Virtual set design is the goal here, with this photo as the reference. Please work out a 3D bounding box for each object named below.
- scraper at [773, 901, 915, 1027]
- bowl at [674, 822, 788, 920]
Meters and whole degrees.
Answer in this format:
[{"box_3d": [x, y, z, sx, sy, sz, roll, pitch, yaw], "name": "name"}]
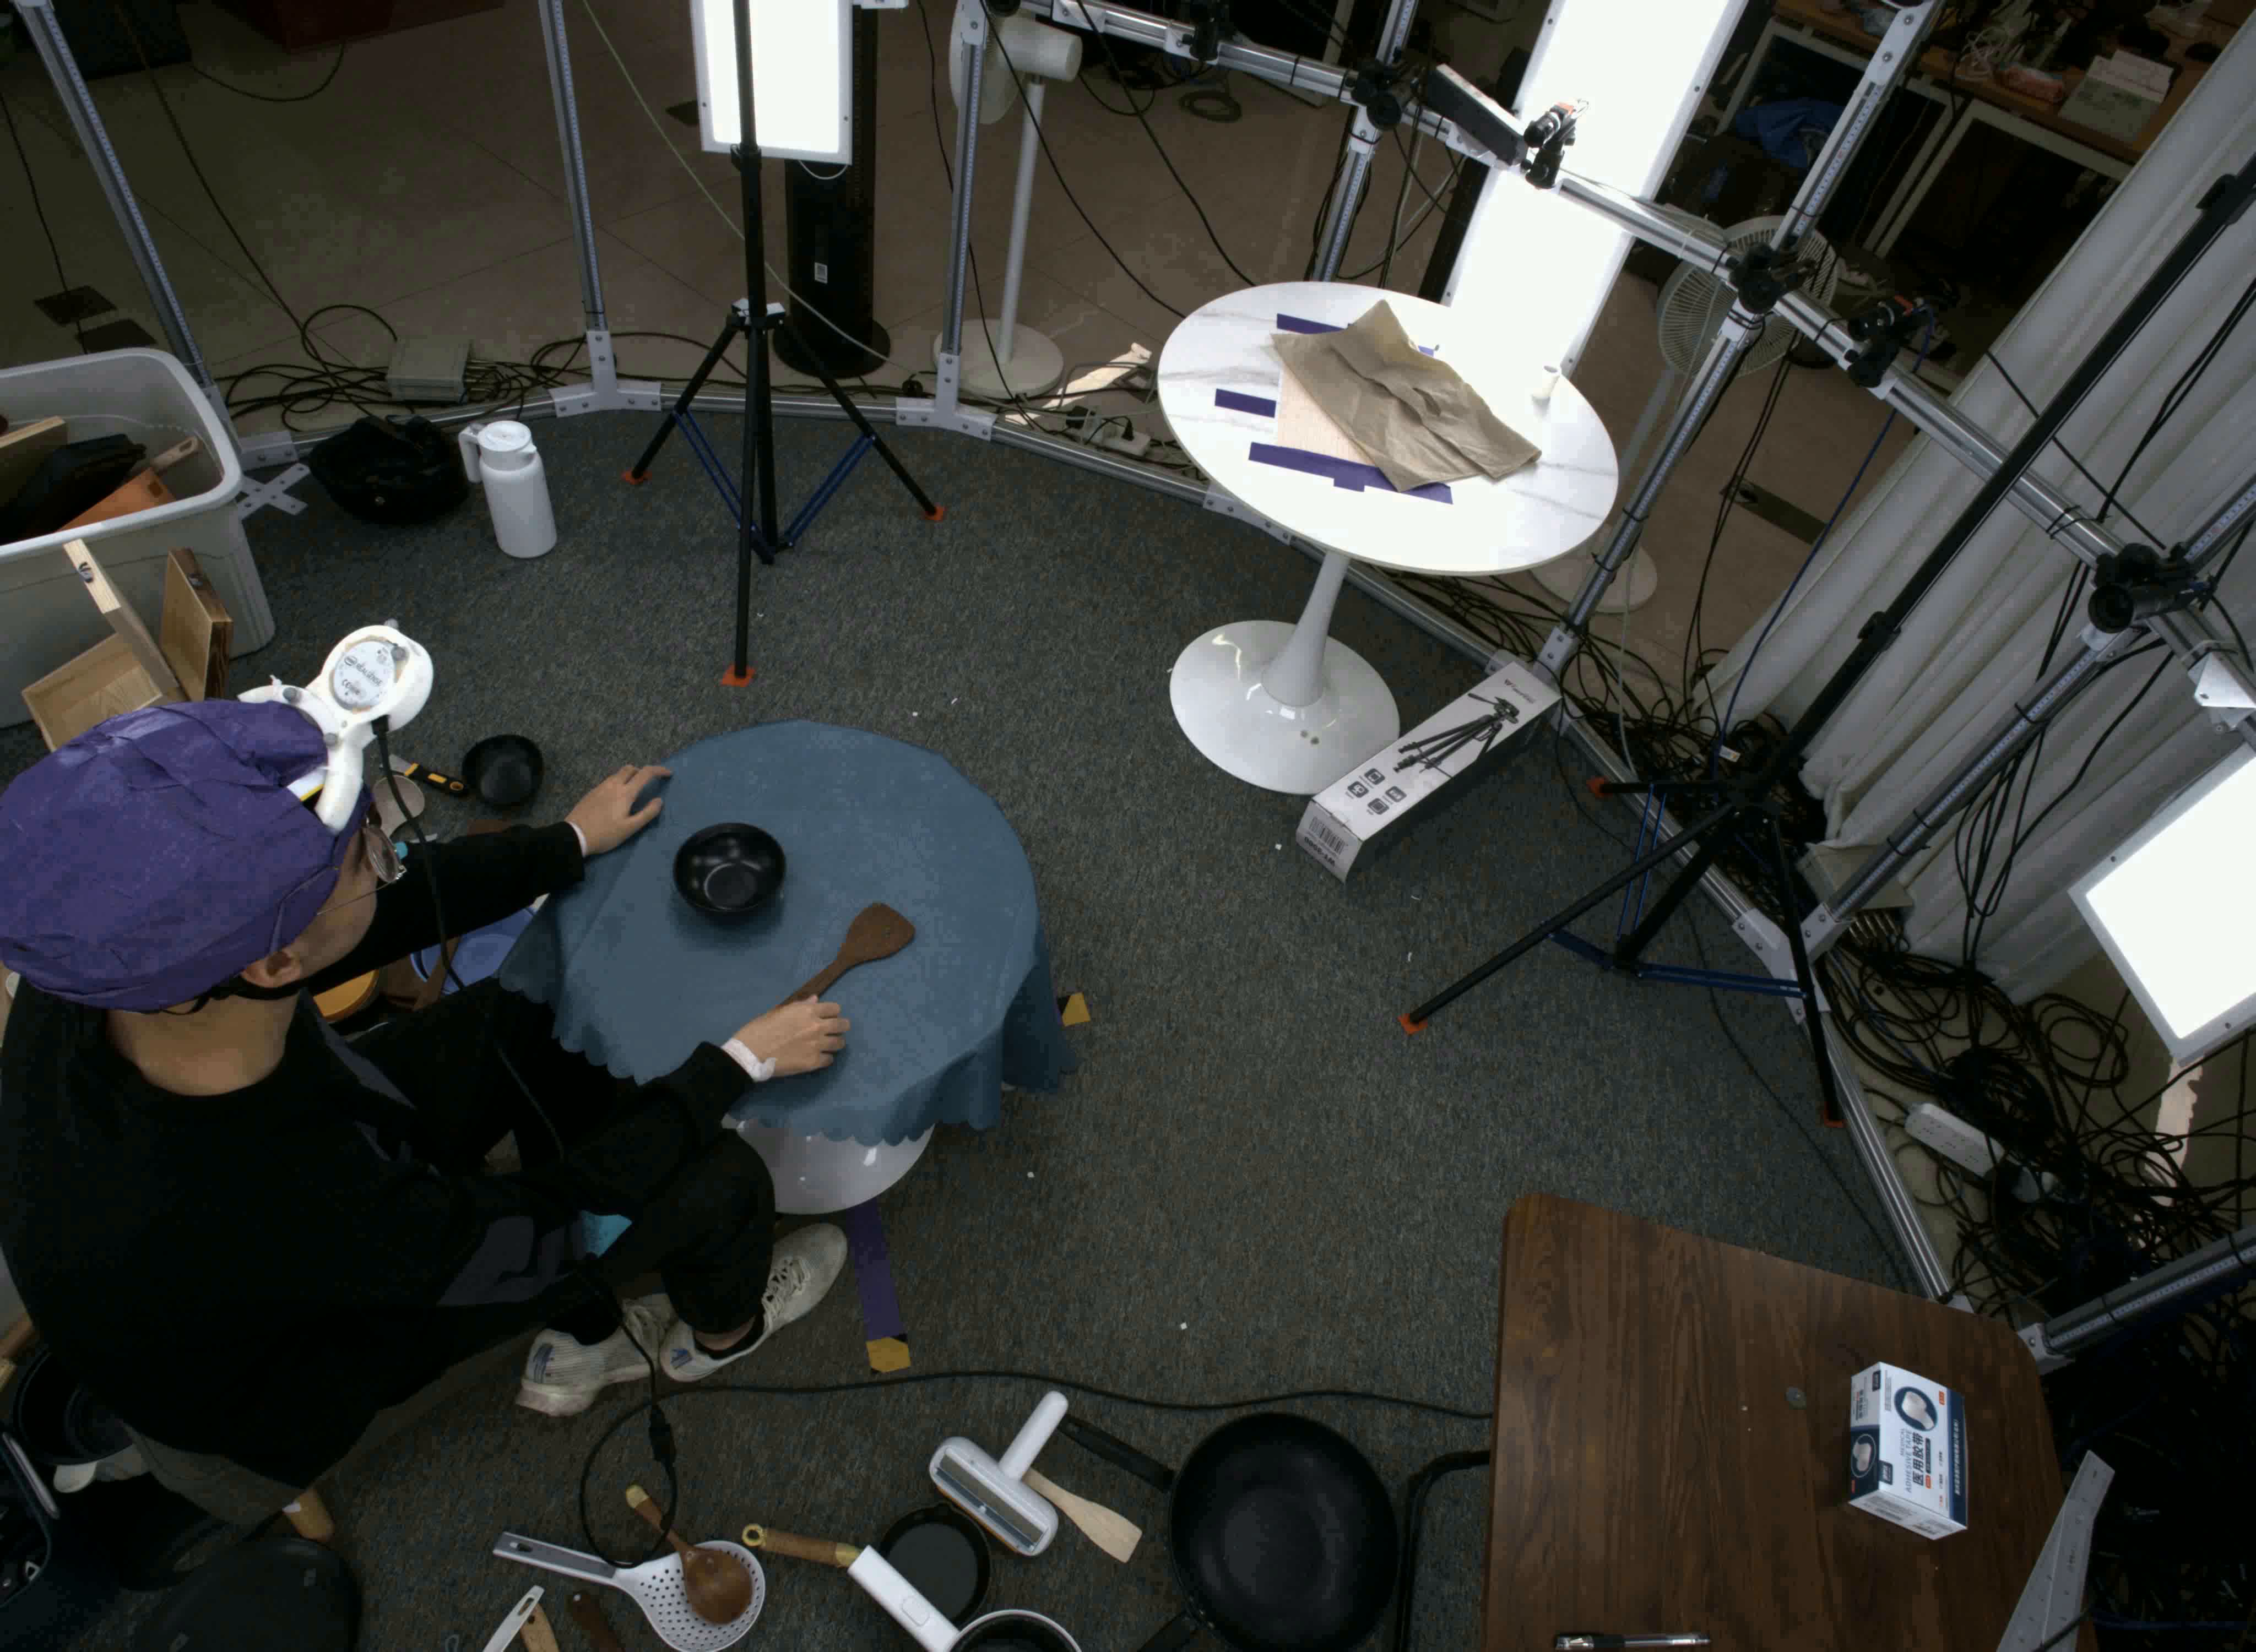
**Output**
[{"box_3d": [-0.358, 0.172, 1.612, 0.074, 0.011, 0.211, 36, 54, 14], "name": "scraper"}, {"box_3d": [-0.500, 0.063, 1.631, 0.140, 0.050, 0.137, 9, 54, -10], "name": "bowl"}]
